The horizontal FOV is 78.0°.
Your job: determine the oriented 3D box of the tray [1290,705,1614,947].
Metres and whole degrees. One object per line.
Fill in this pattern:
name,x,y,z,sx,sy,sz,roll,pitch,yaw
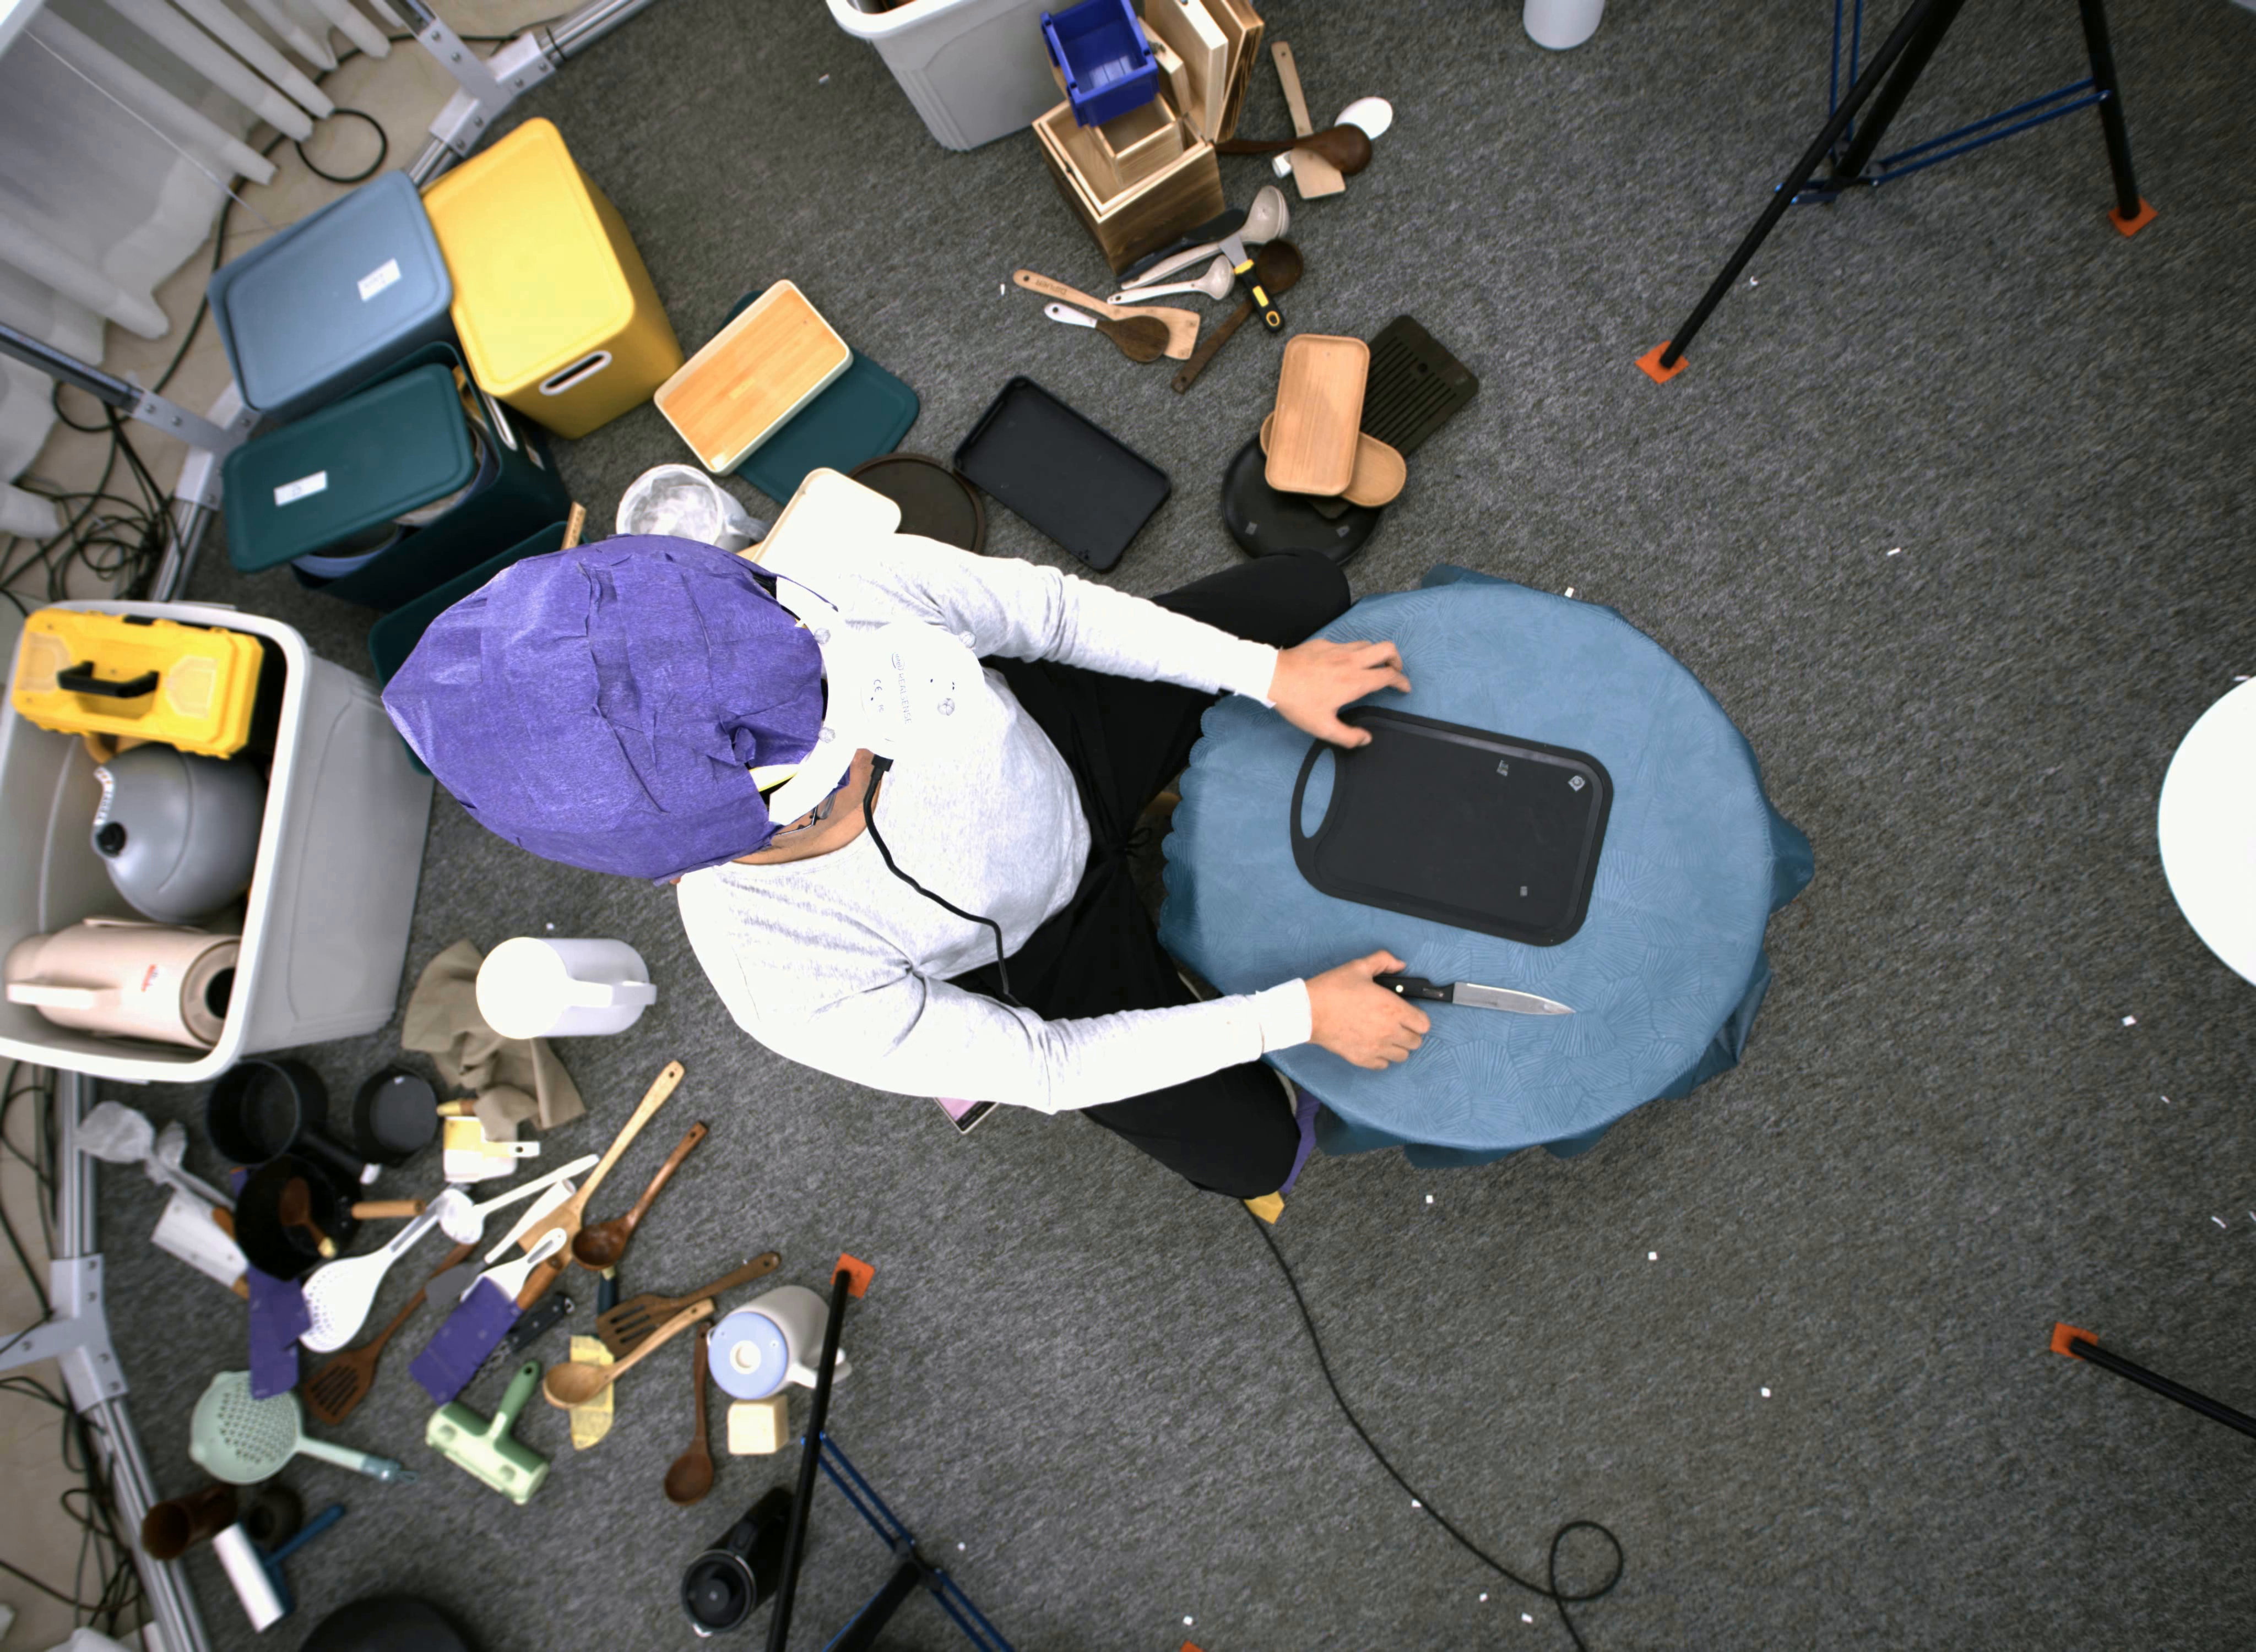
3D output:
tray,0.333,-0.006,1.450,0.326,0.010,0.210,14,89,11

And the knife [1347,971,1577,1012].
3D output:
knife,0.346,0.173,1.434,0.239,0.016,0.024,6,88,8
